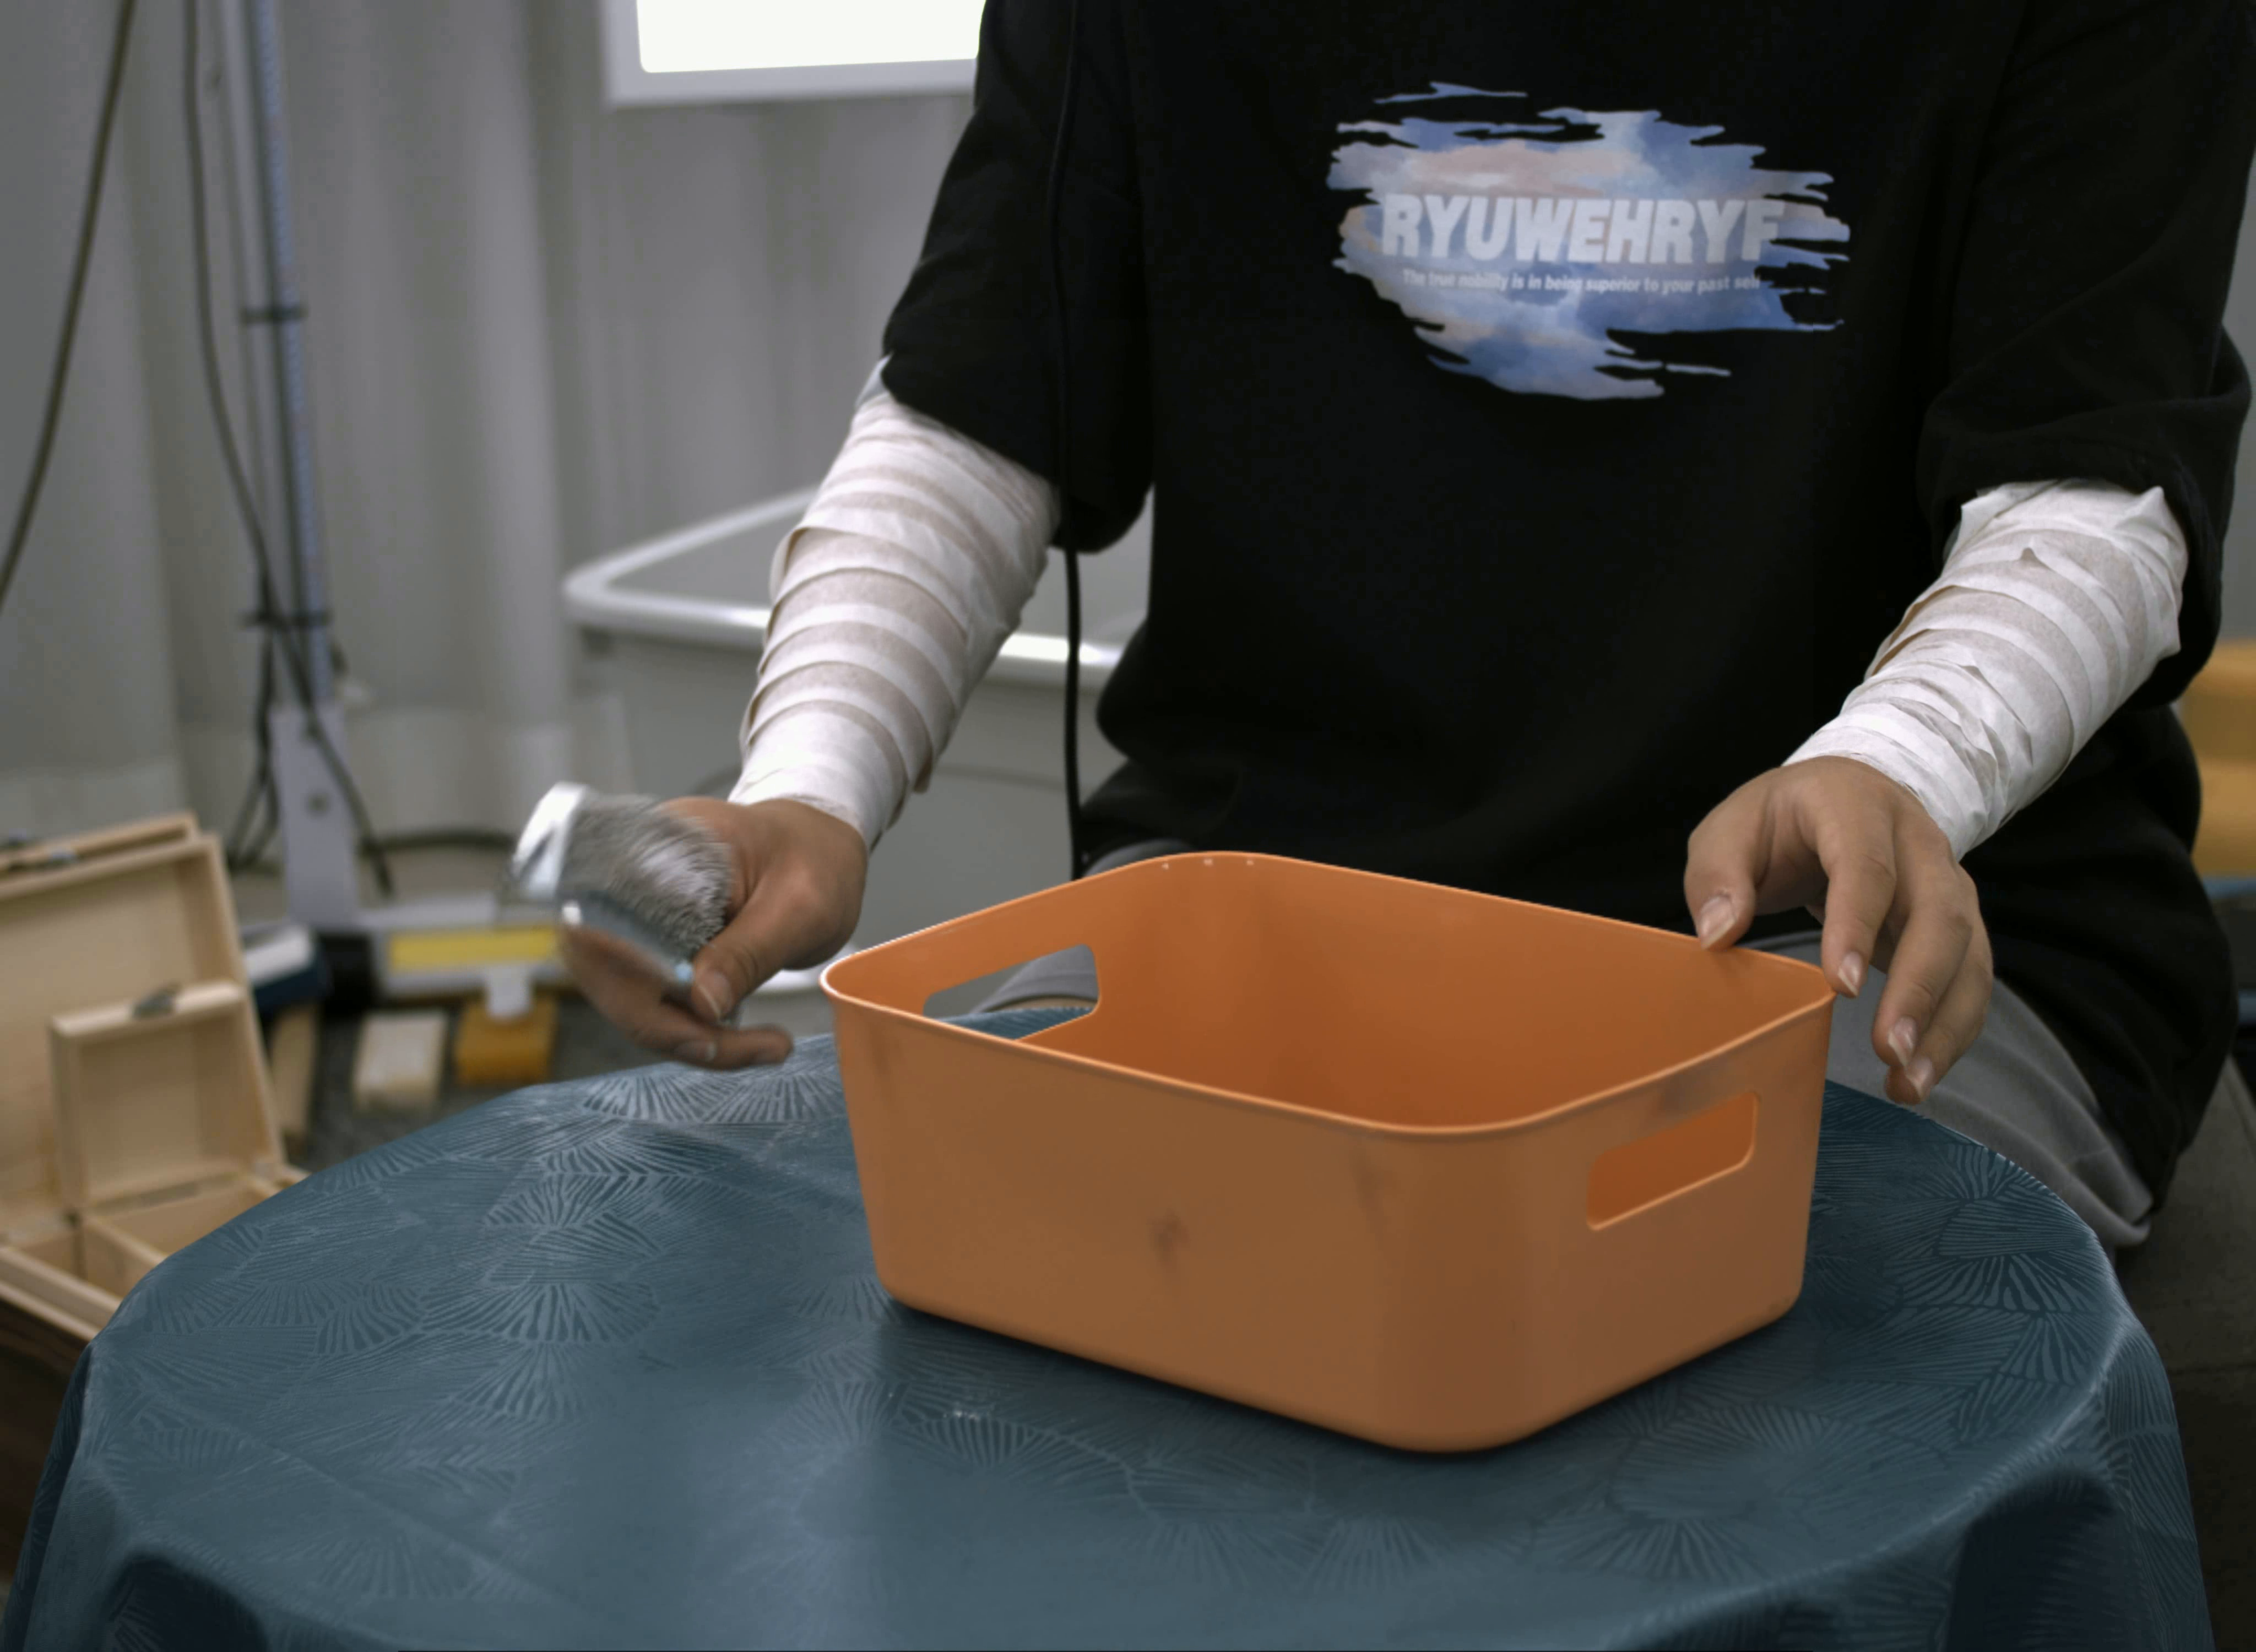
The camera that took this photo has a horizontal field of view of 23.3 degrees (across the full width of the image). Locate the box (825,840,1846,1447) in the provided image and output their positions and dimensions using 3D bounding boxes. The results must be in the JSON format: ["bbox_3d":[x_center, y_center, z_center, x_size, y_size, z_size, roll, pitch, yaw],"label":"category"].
[{"bbox_3d":[0.060,0.088,1.591,0.274,0.102,0.199,11,21,42],"label":"box"}]

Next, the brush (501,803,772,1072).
[{"bbox_3d":[-0.134,0.039,1.720,0.050,0.035,0.241,-7,-17,14],"label":"brush"}]
